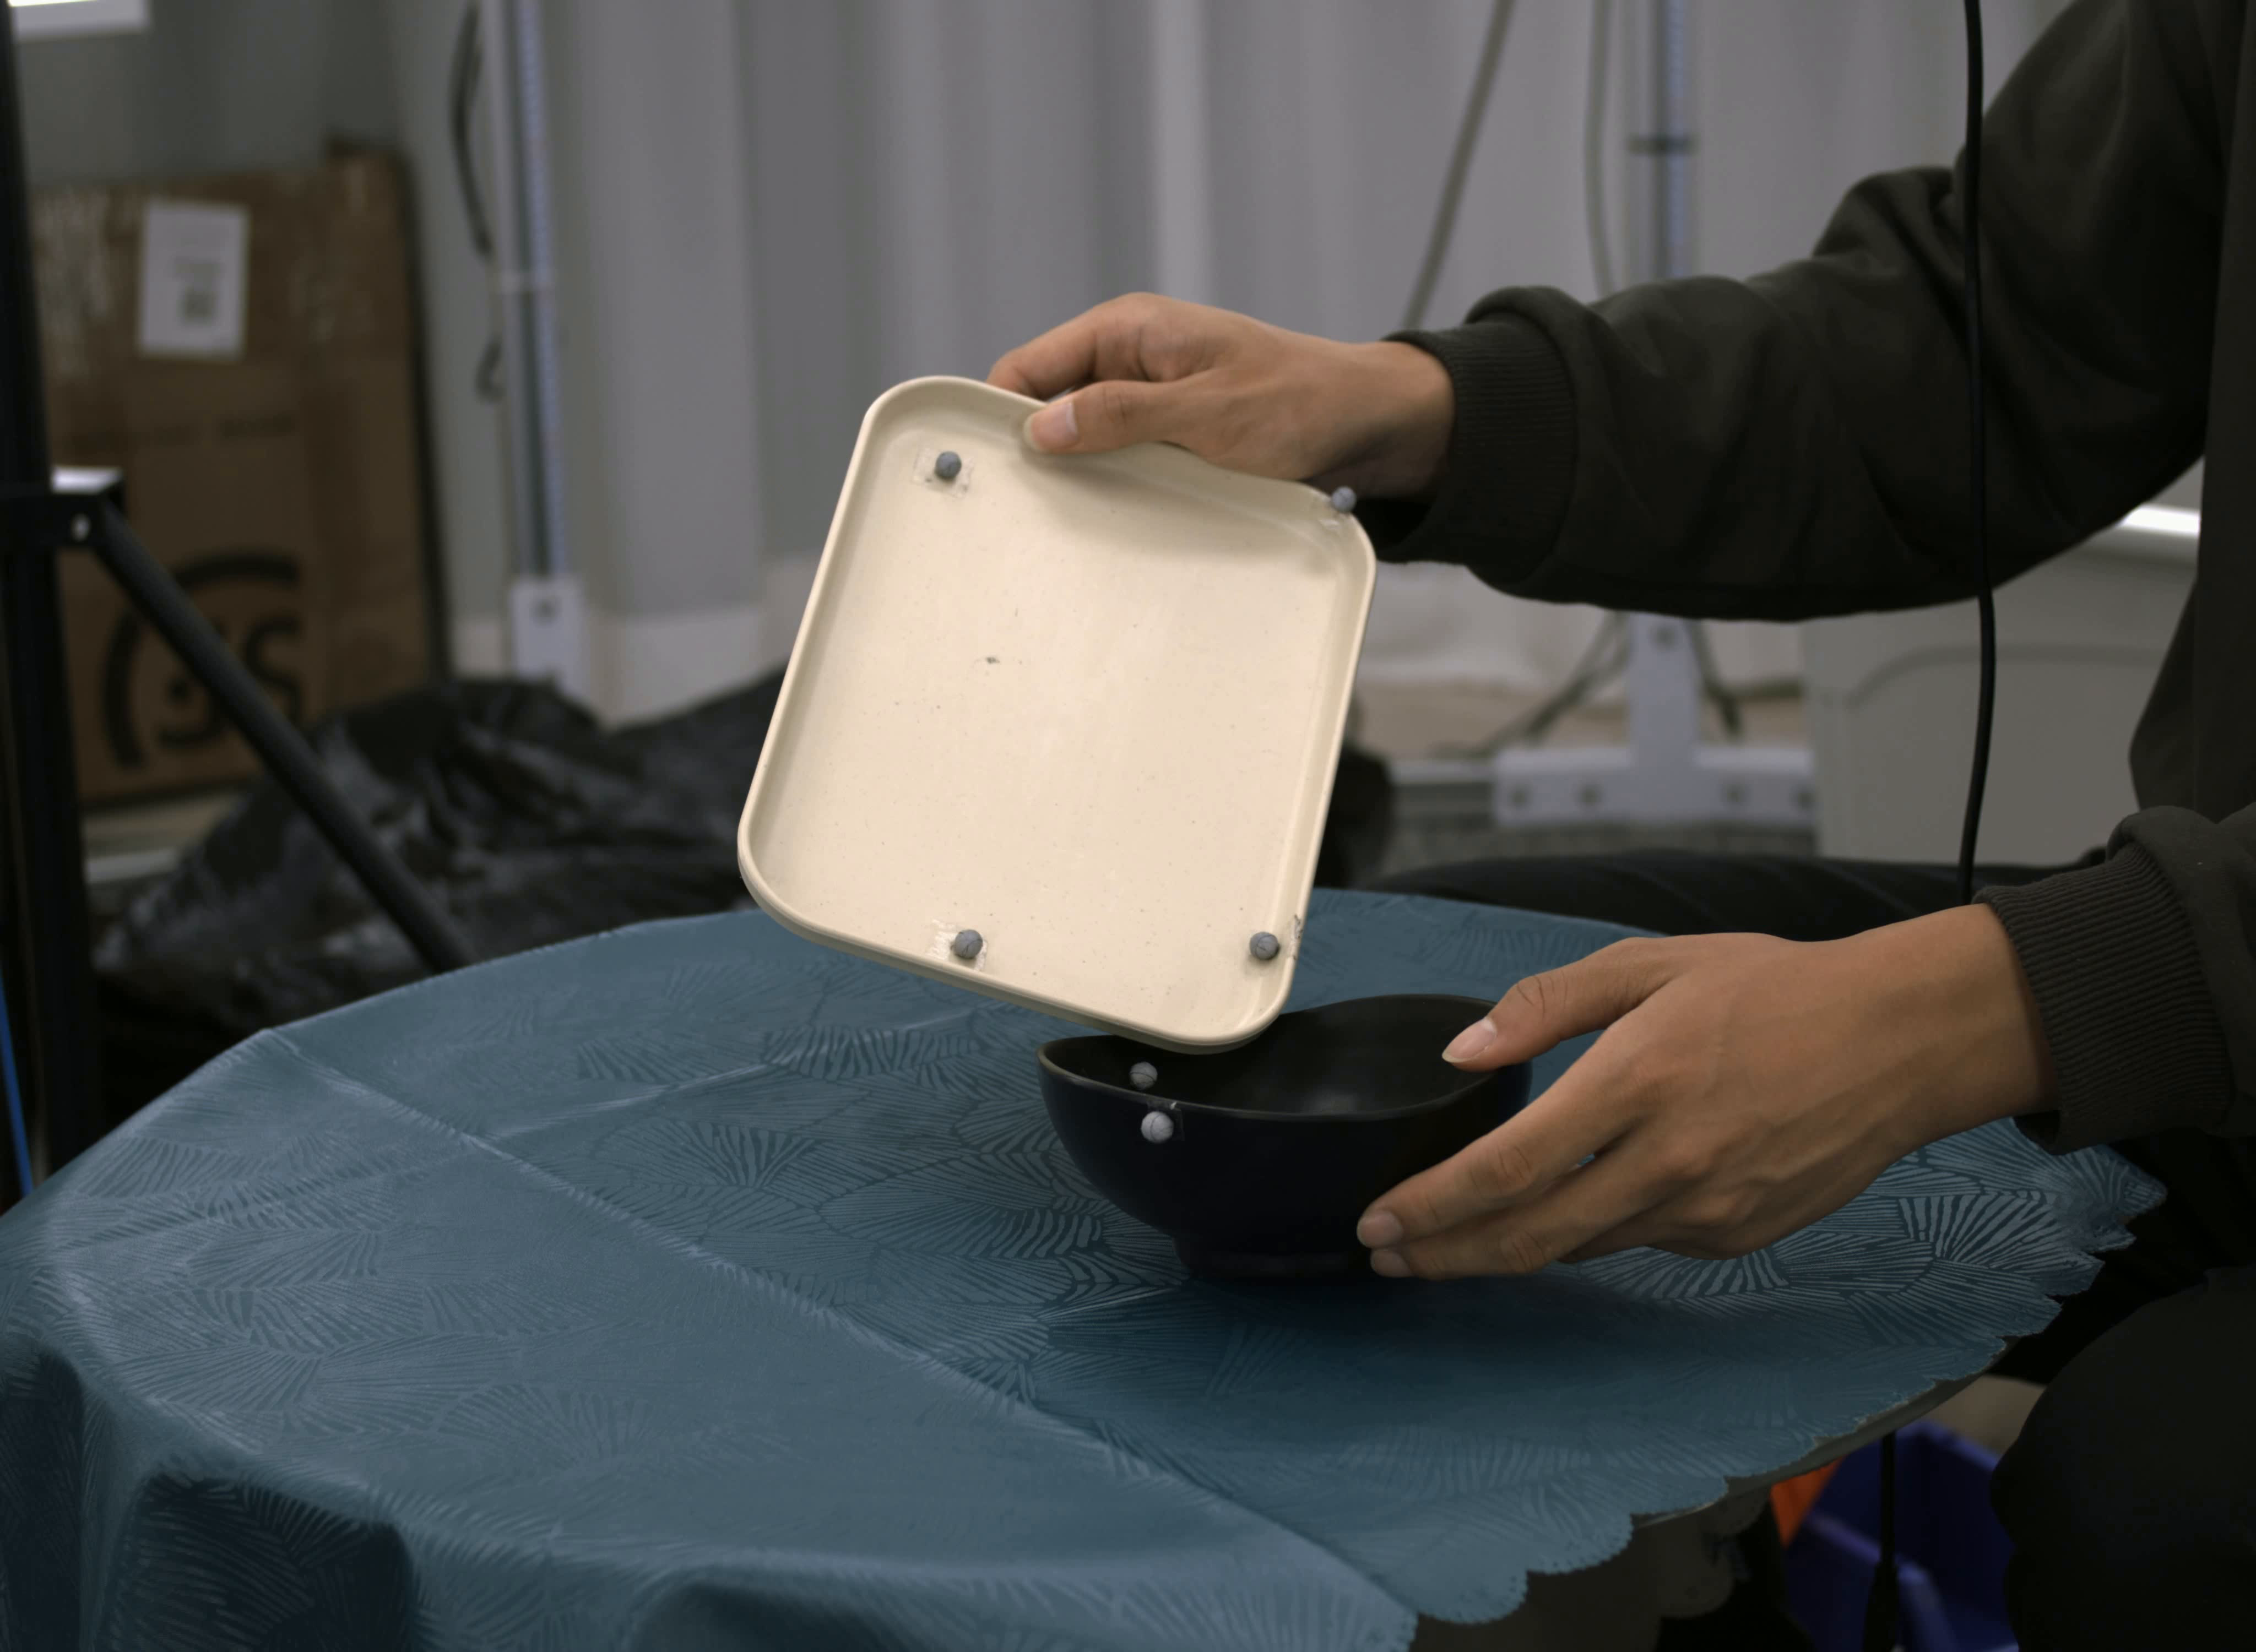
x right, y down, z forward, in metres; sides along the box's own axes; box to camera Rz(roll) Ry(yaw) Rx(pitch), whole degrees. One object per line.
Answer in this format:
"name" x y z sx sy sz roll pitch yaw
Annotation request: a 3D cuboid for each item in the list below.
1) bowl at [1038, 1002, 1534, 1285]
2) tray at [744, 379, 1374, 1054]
"bowl" 0.044 0.091 1.491 0.135 0.067 0.172 -6 8 -16
"tray" -0.018 -0.035 1.627 0.170 0.017 0.240 16 47 -2
